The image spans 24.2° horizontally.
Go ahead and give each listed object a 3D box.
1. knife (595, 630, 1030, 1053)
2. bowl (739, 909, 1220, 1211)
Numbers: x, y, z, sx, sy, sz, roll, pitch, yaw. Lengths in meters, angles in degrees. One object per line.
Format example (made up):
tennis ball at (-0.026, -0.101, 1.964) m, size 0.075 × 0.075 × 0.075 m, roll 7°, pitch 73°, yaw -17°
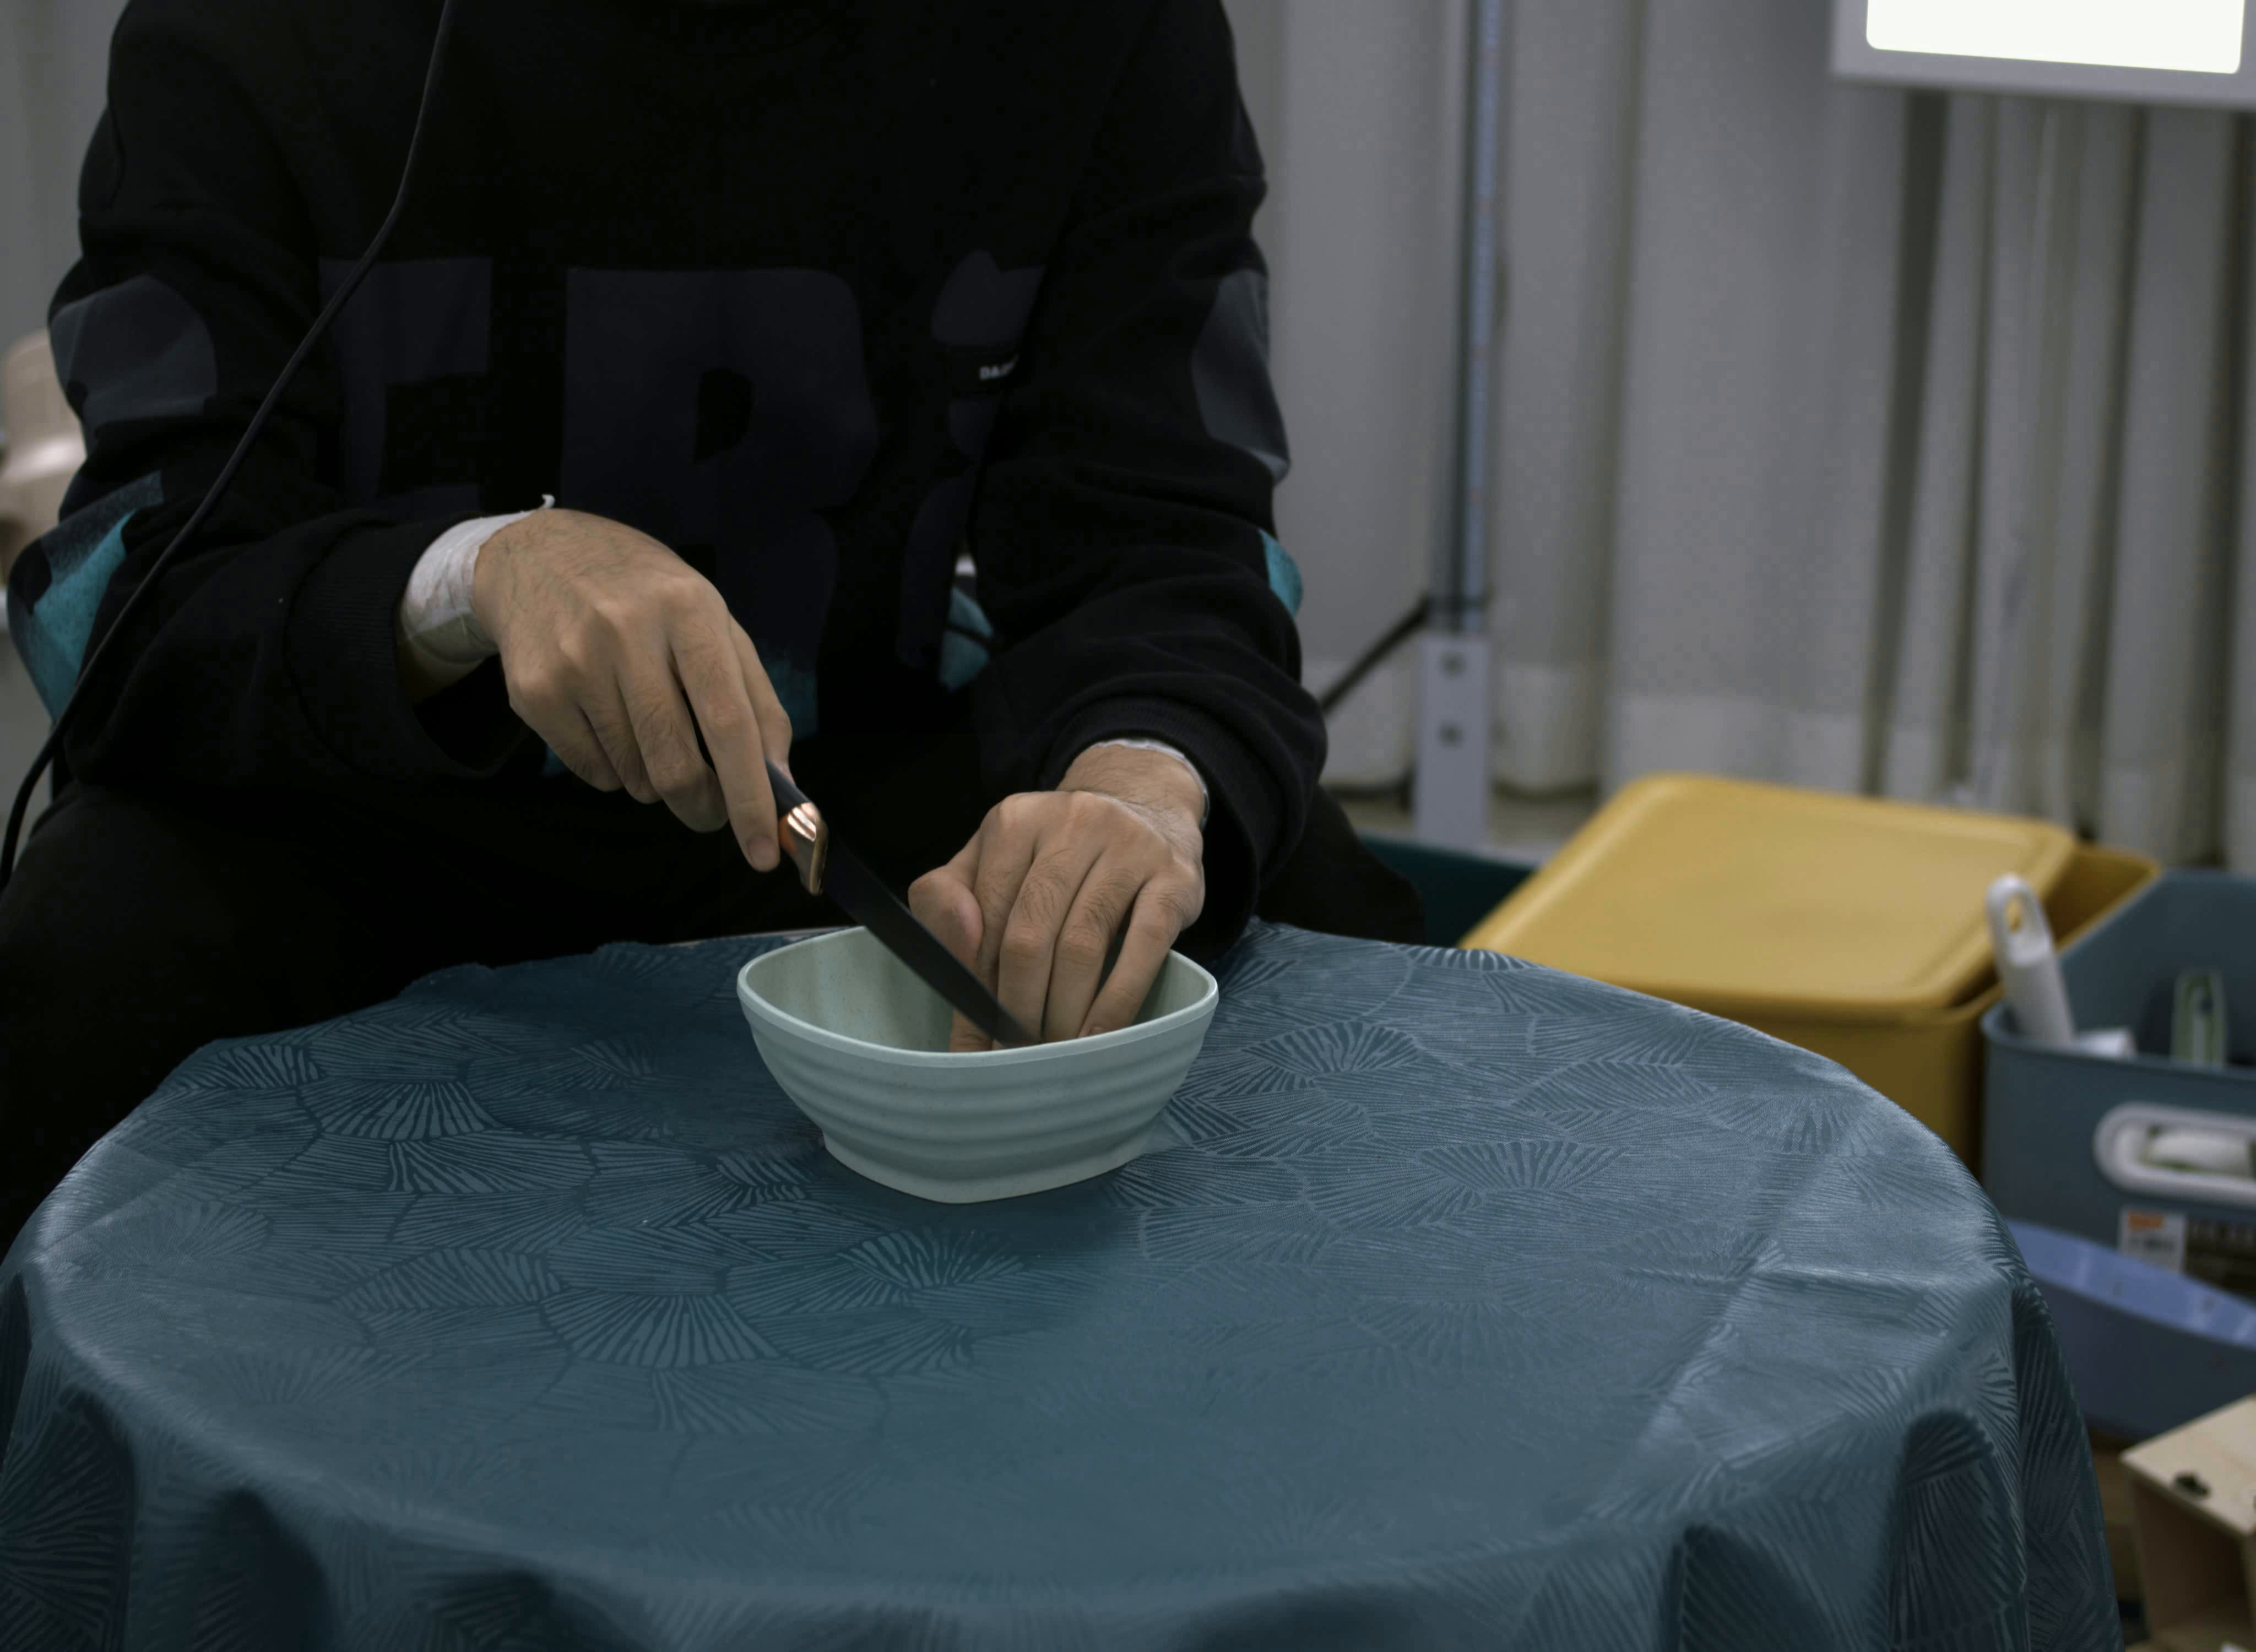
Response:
knife at (-0.094, 0.012, 1.662) m, size 0.223 × 0.026 × 0.017 m, roll 43°, pitch 42°, yaw 23°
bowl at (-0.046, 0.076, 1.648) m, size 0.151 × 0.059 × 0.150 m, roll 0°, pitch 17°, yaw 1°
